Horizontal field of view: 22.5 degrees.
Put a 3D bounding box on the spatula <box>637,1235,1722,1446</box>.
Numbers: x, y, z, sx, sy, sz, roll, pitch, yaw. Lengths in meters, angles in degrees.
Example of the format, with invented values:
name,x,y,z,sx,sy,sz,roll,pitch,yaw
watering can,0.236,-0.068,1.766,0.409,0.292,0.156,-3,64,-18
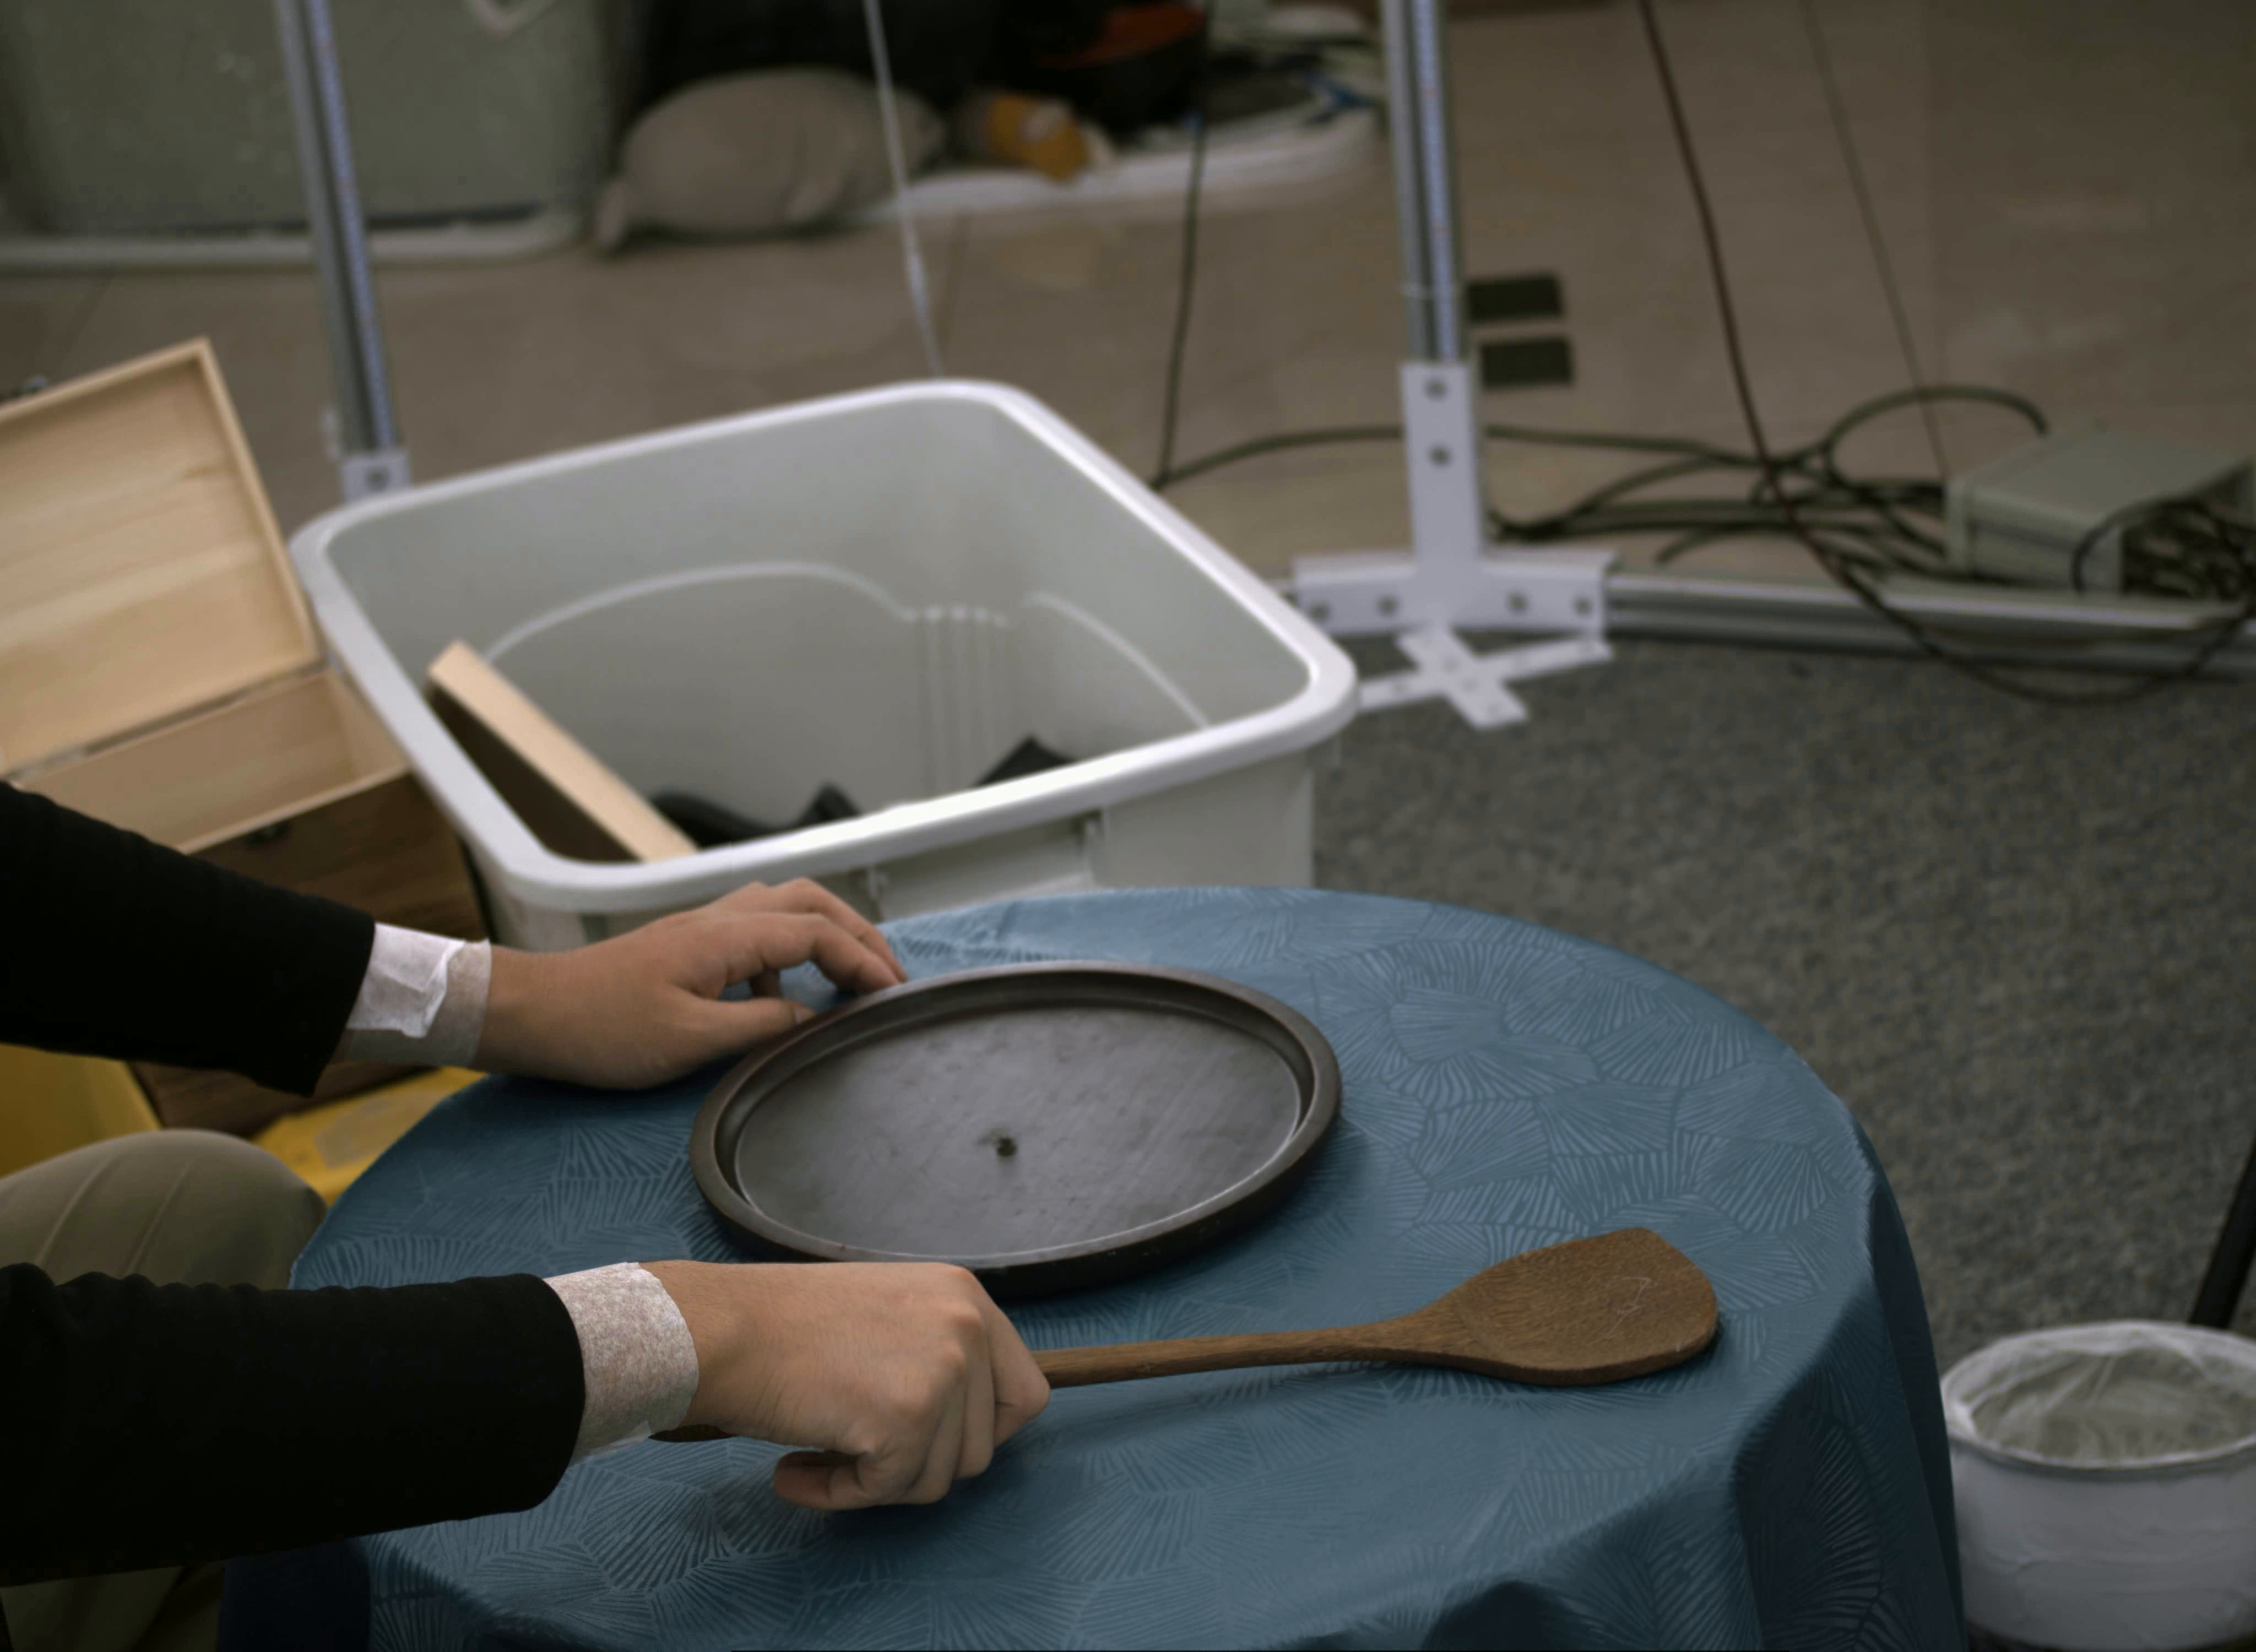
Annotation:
name,x,y,z,sx,sy,sz,roll,pitch,yaw
spatula,0.019,0.187,1.998,0.385,0.016,0.095,-5,24,-10

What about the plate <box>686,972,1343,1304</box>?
name,x,y,z,sx,sy,sz,roll,pitch,yaw
plate,-0.043,0.118,2.179,0.254,0.029,0.251,-4,26,2
